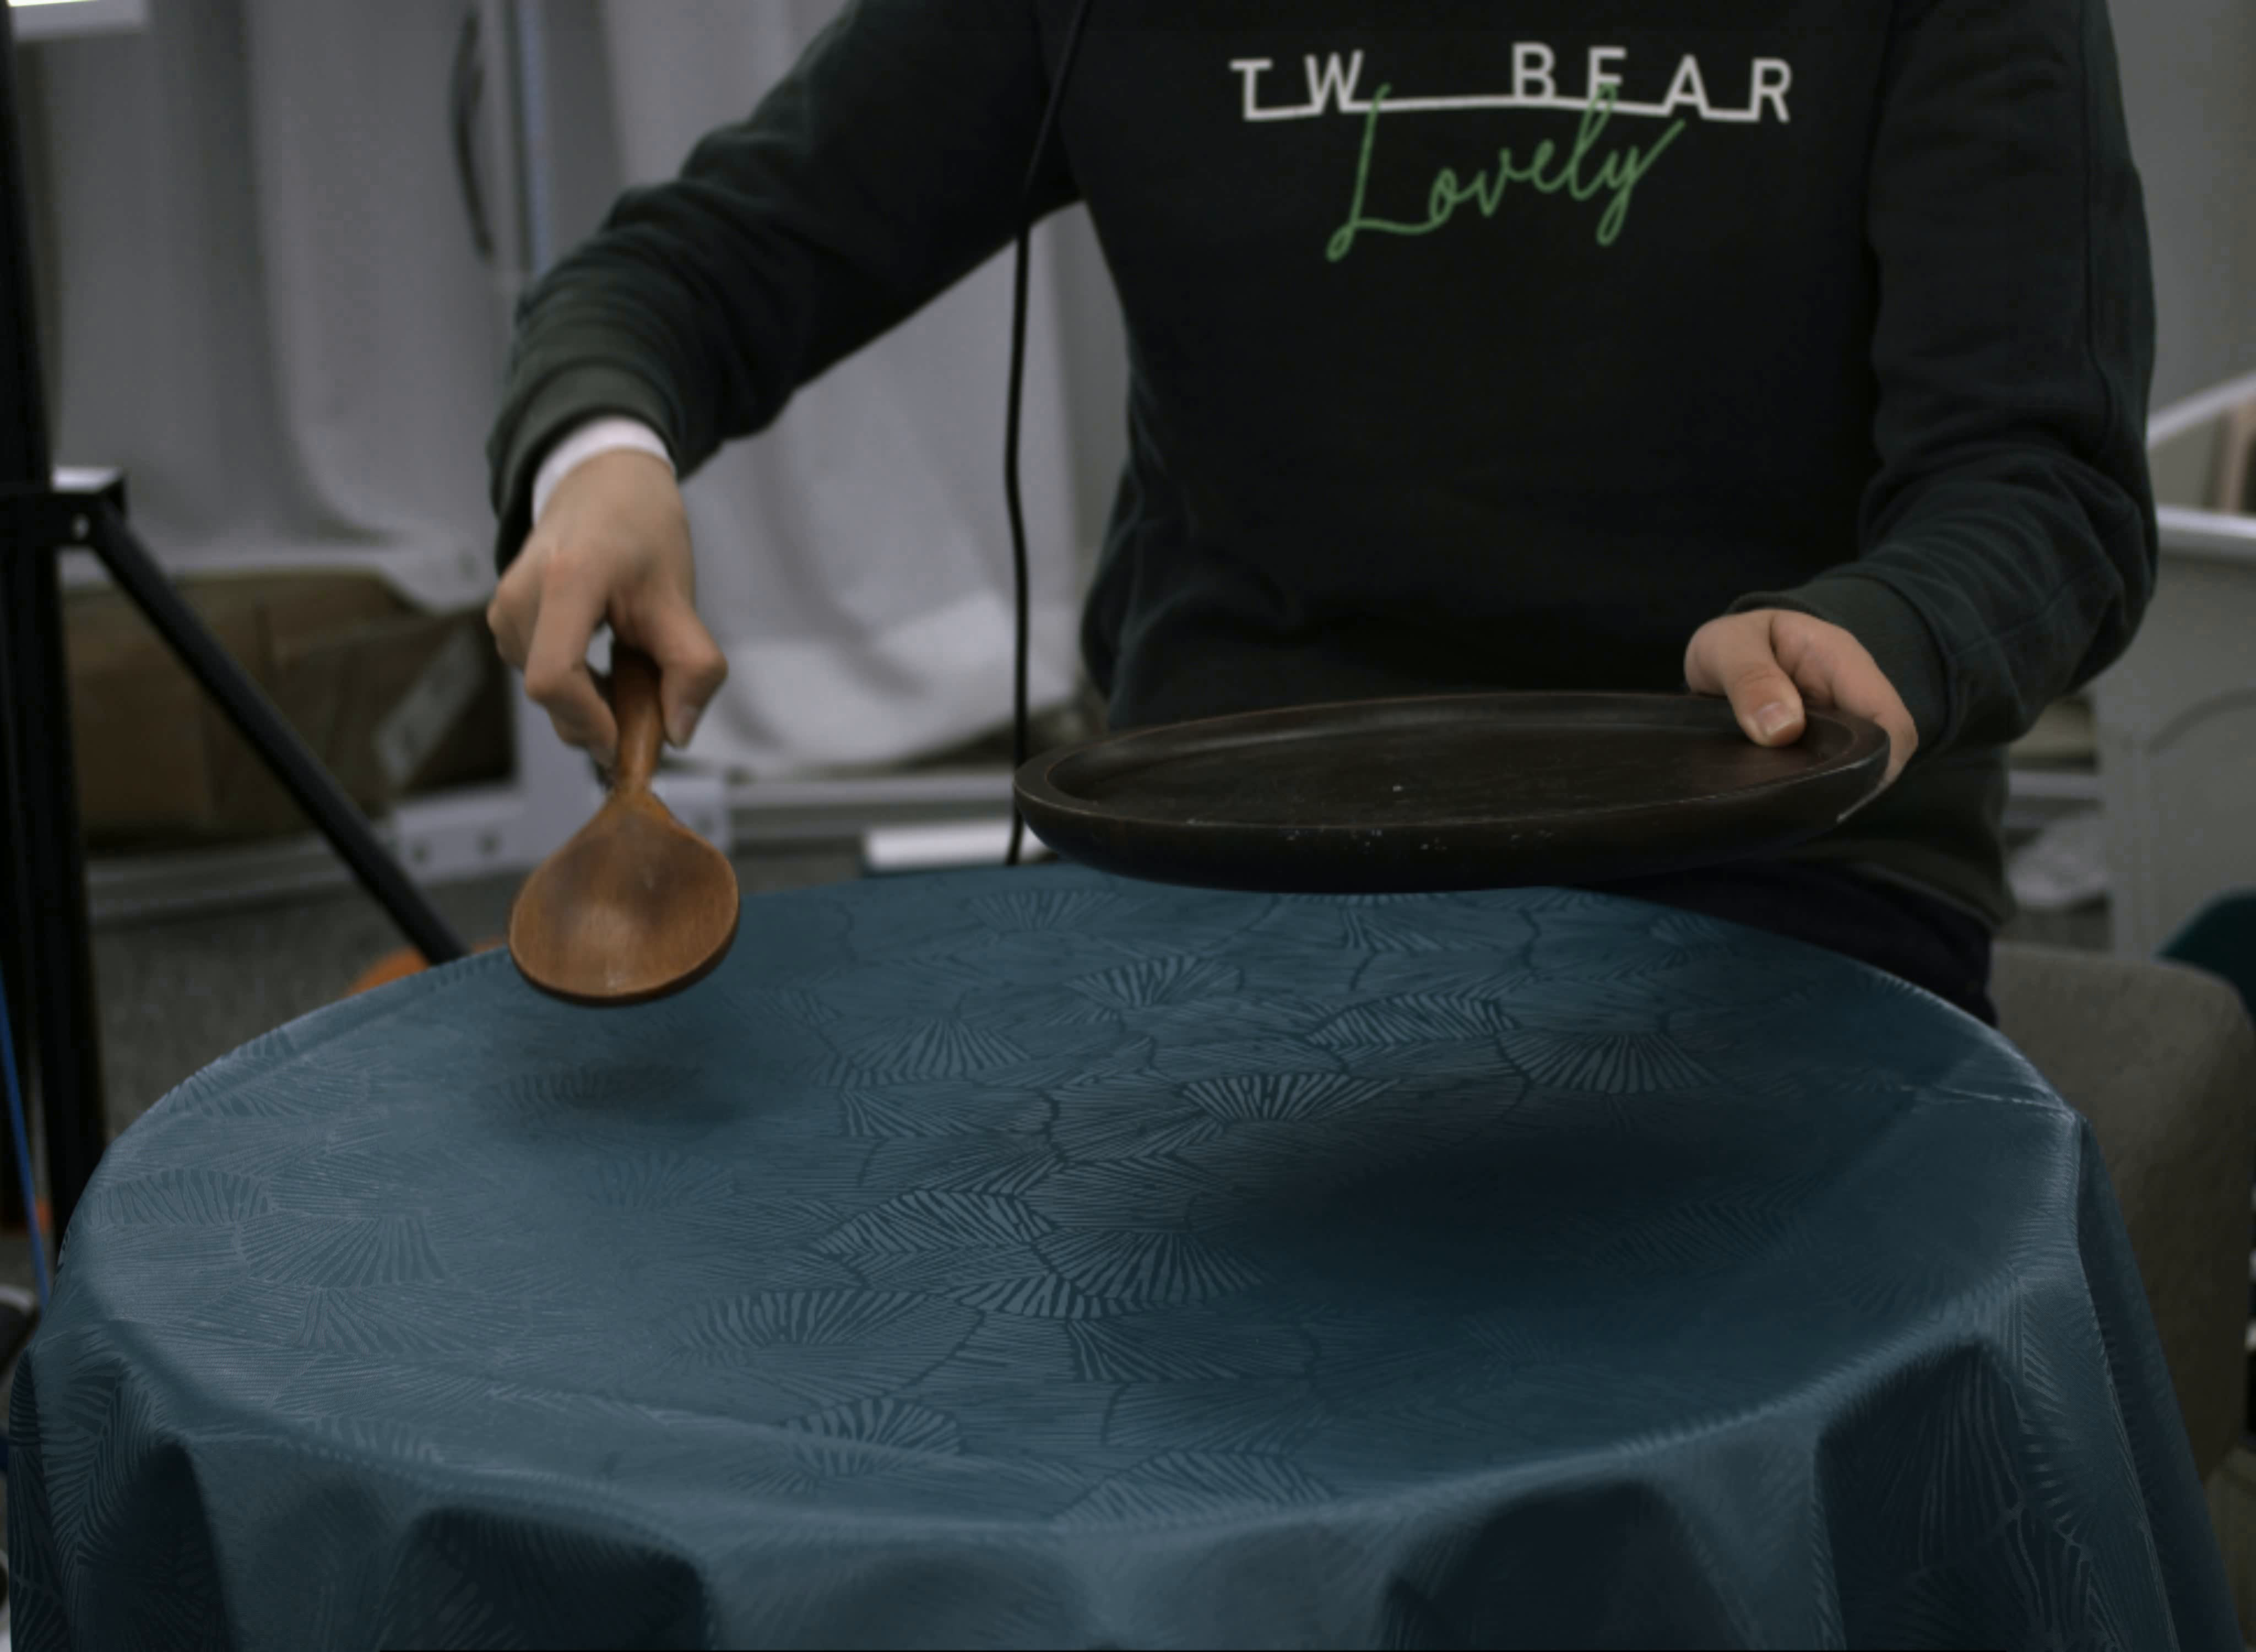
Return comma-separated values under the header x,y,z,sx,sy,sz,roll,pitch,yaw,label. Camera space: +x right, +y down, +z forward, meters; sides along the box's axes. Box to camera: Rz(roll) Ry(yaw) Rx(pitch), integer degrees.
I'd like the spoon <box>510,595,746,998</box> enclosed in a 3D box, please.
x,y,z,sx,sy,sz,roll,pitch,yaw,label
-0.159,-0.009,1.725,0.075,0.017,0.218,-6,36,2,spoon

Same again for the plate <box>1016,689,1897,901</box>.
x,y,z,sx,sy,sz,roll,pitch,yaw,label
0.094,-0.010,1.525,0.253,0.029,0.256,-4,10,-1,plate
